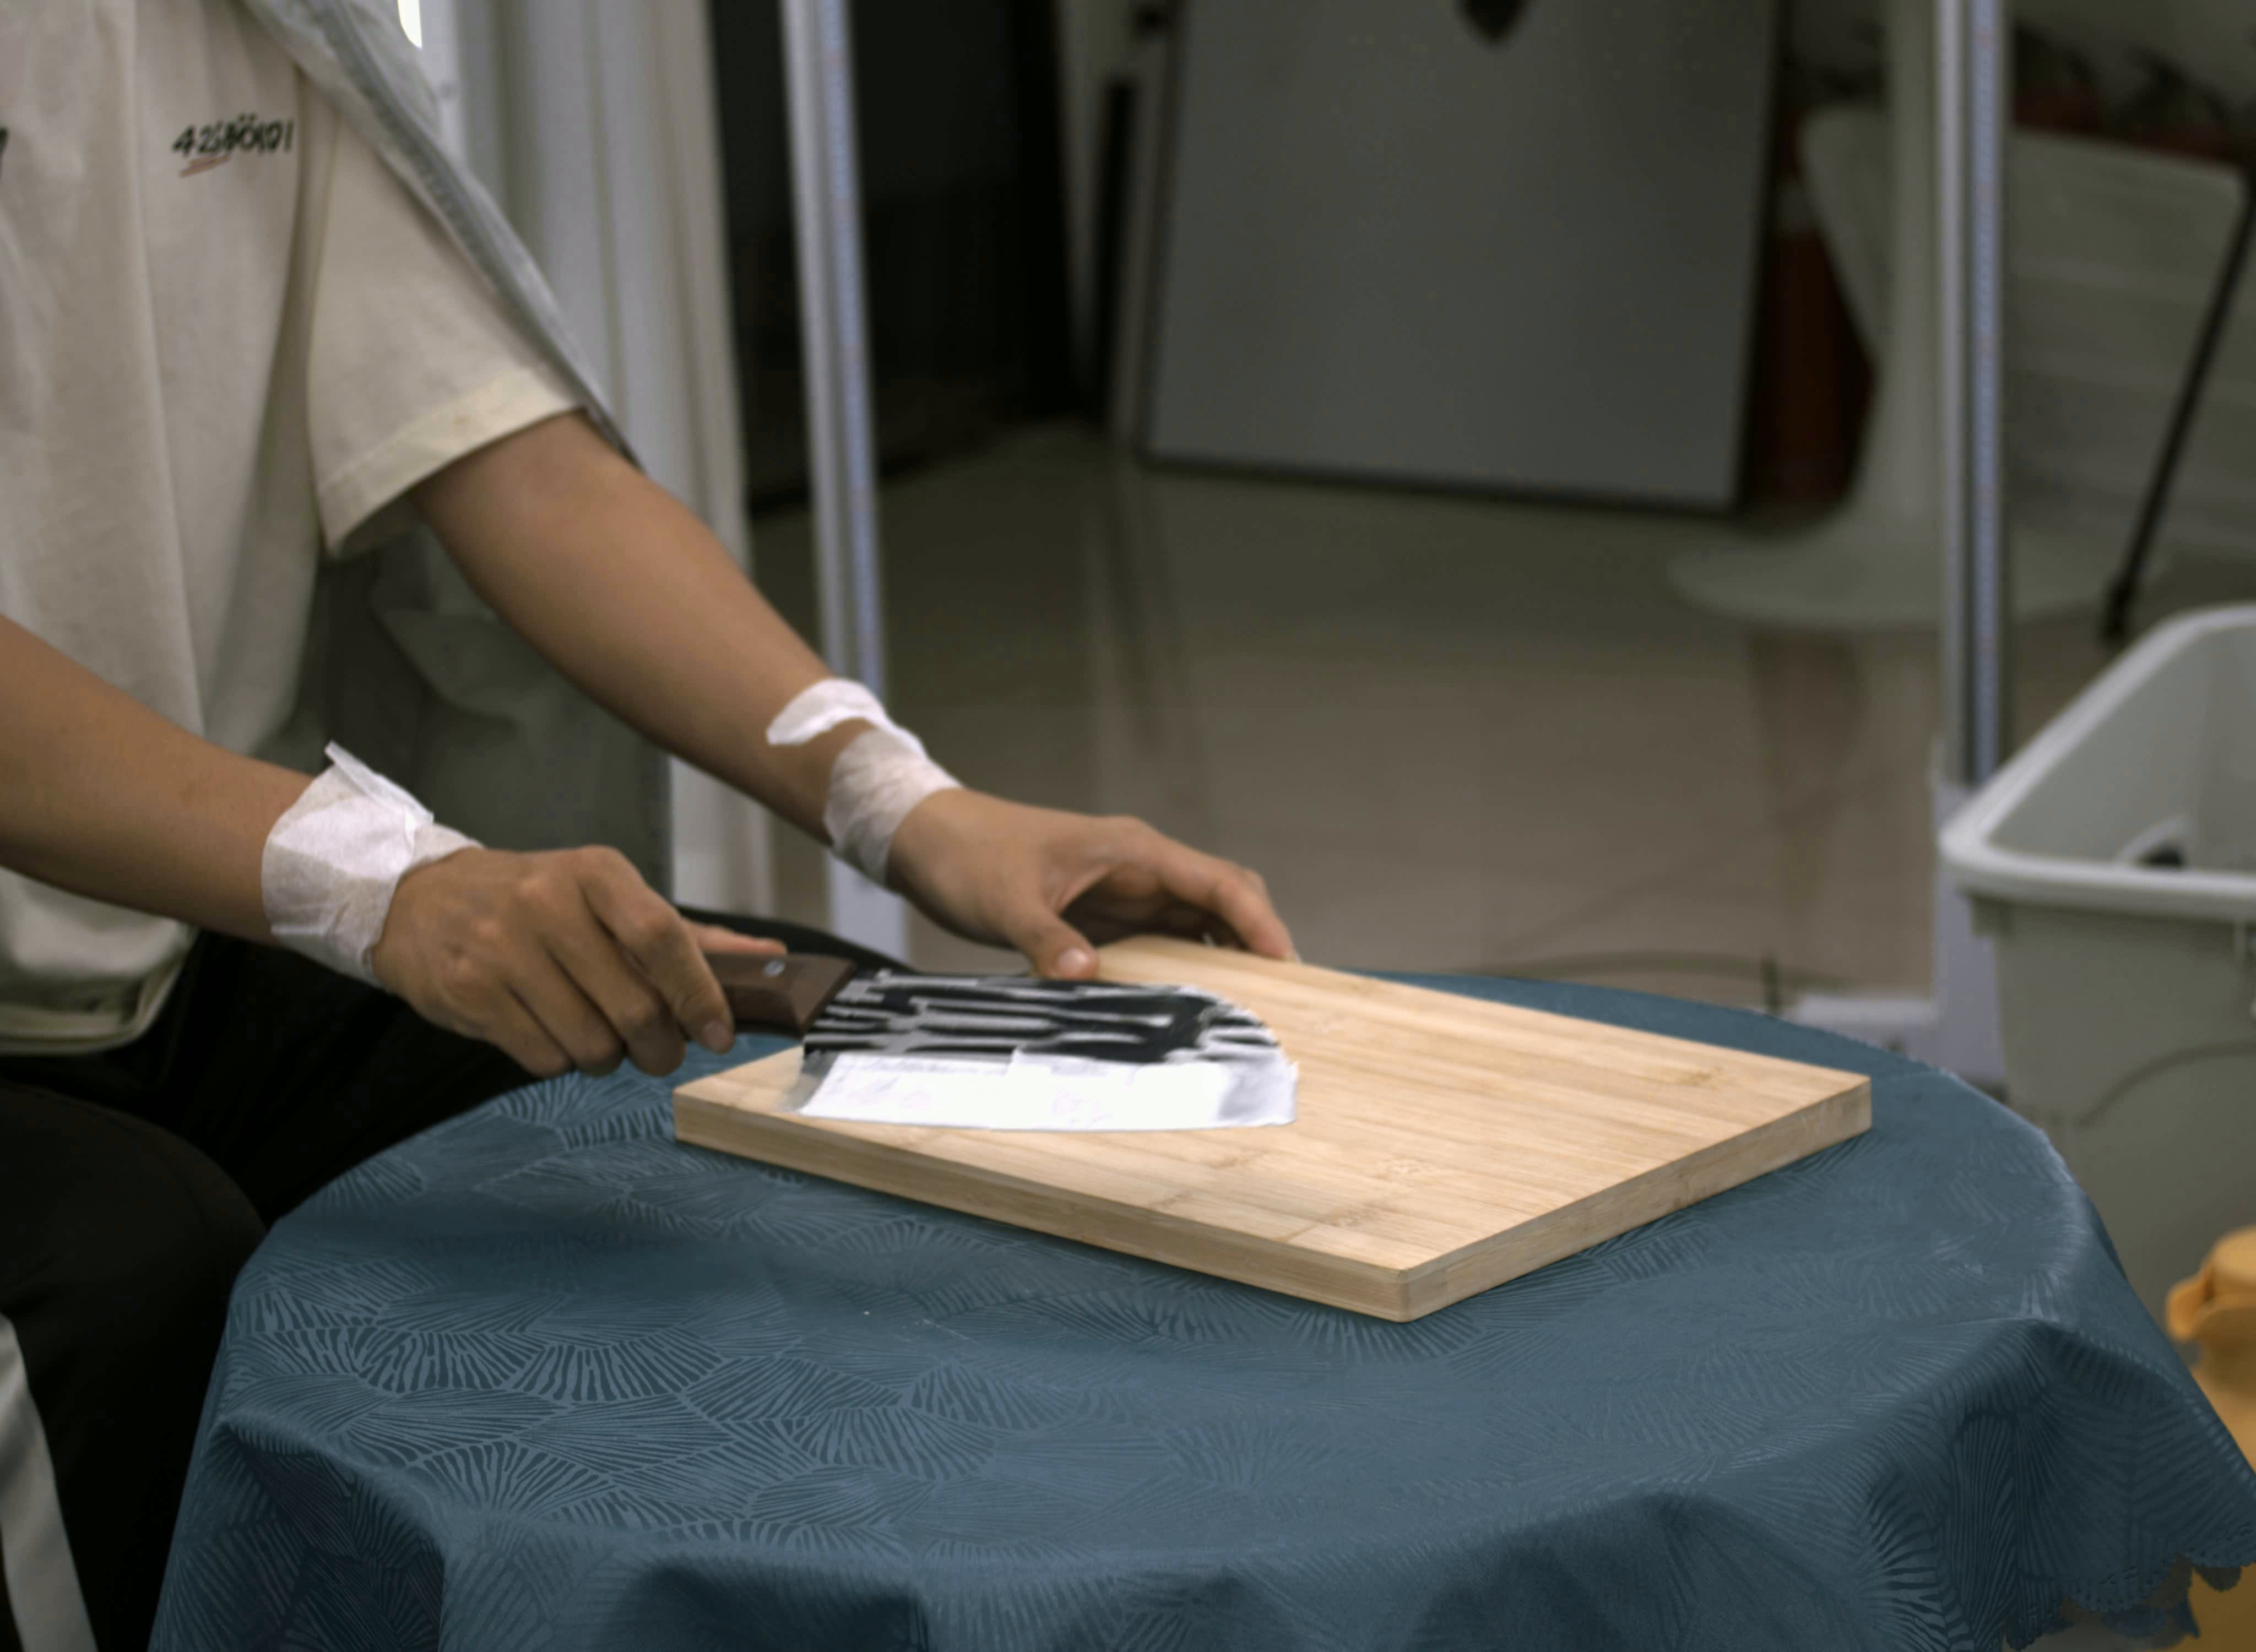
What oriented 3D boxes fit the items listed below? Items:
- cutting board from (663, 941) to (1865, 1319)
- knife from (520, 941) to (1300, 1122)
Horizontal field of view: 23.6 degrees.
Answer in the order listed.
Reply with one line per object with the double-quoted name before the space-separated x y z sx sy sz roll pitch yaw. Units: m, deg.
"cutting board" 0.042 0.098 1.828 0.352 0.024 0.245 9 19 43
"knife" -0.074 0.067 1.707 0.300 0.024 0.068 2 44 28
